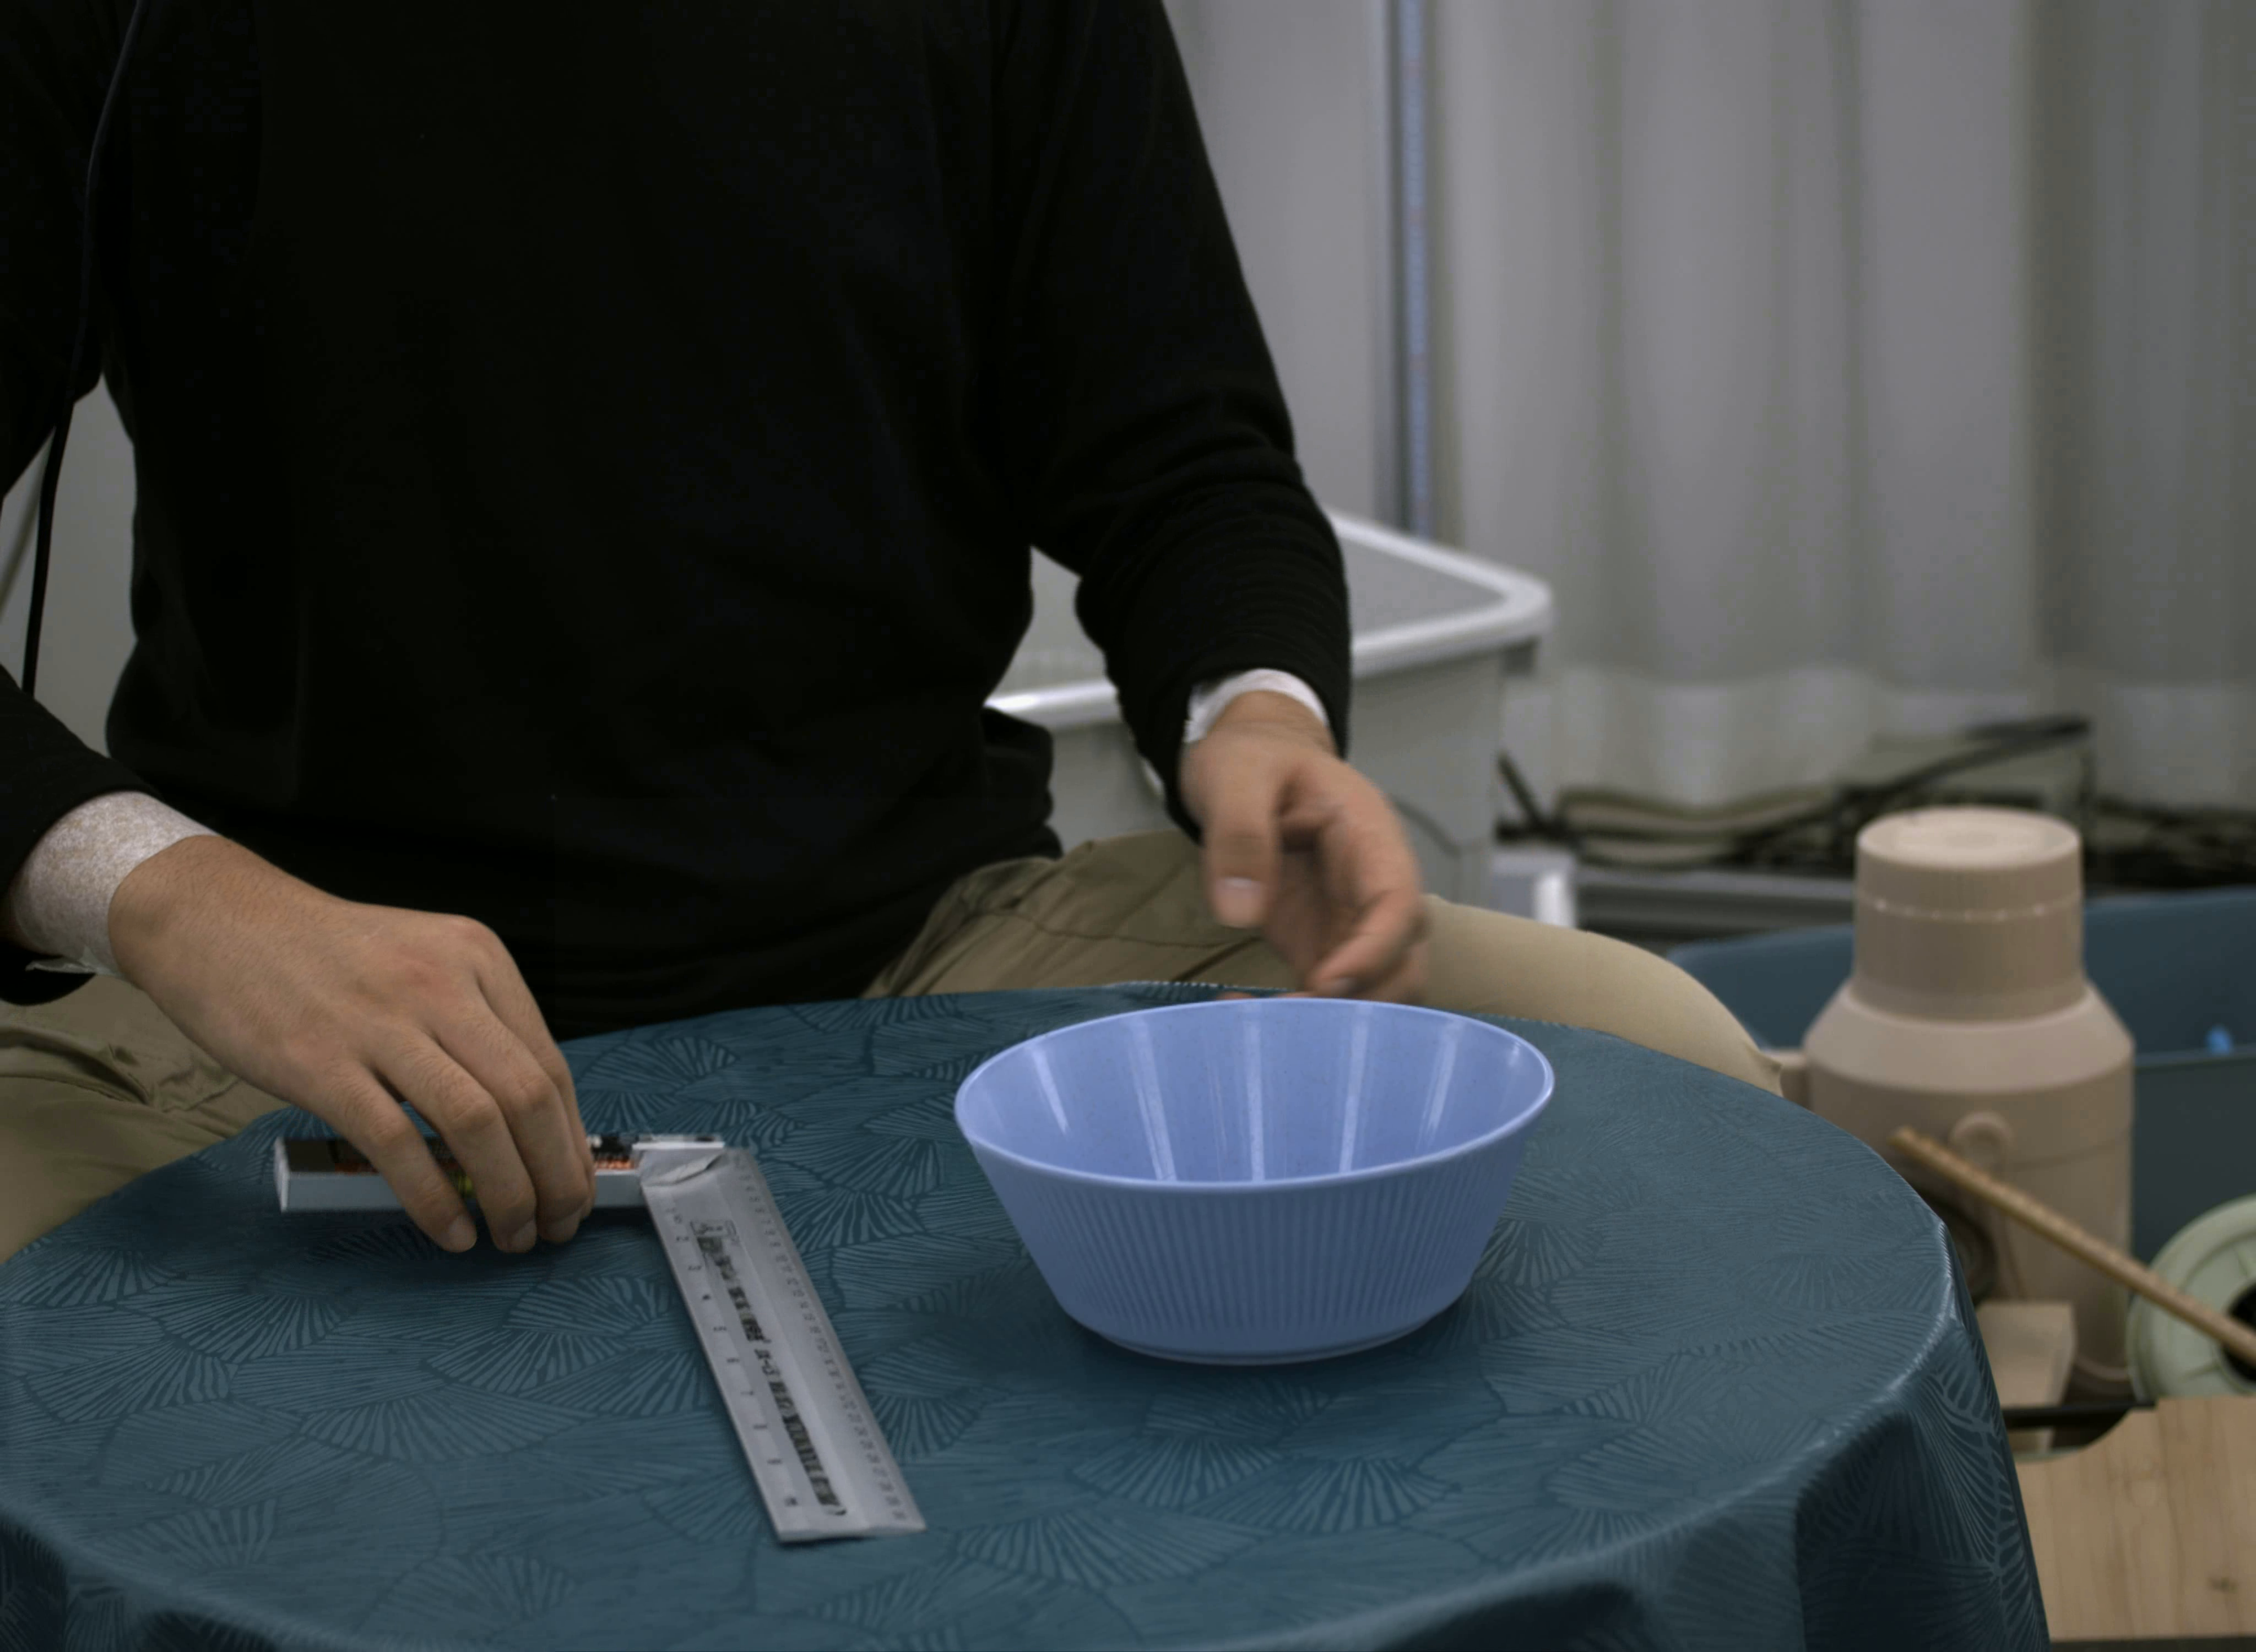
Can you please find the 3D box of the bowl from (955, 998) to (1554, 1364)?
[{"bbox_3d":[0.038,0.107,1.602,0.175,0.070,0.177,-3,15,1],"label":"bowl"}]

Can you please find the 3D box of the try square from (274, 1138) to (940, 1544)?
[{"bbox_3d":[-0.158,0.149,1.581,0.151,0.016,0.315,-4,16,-12],"label":"try square"}]
